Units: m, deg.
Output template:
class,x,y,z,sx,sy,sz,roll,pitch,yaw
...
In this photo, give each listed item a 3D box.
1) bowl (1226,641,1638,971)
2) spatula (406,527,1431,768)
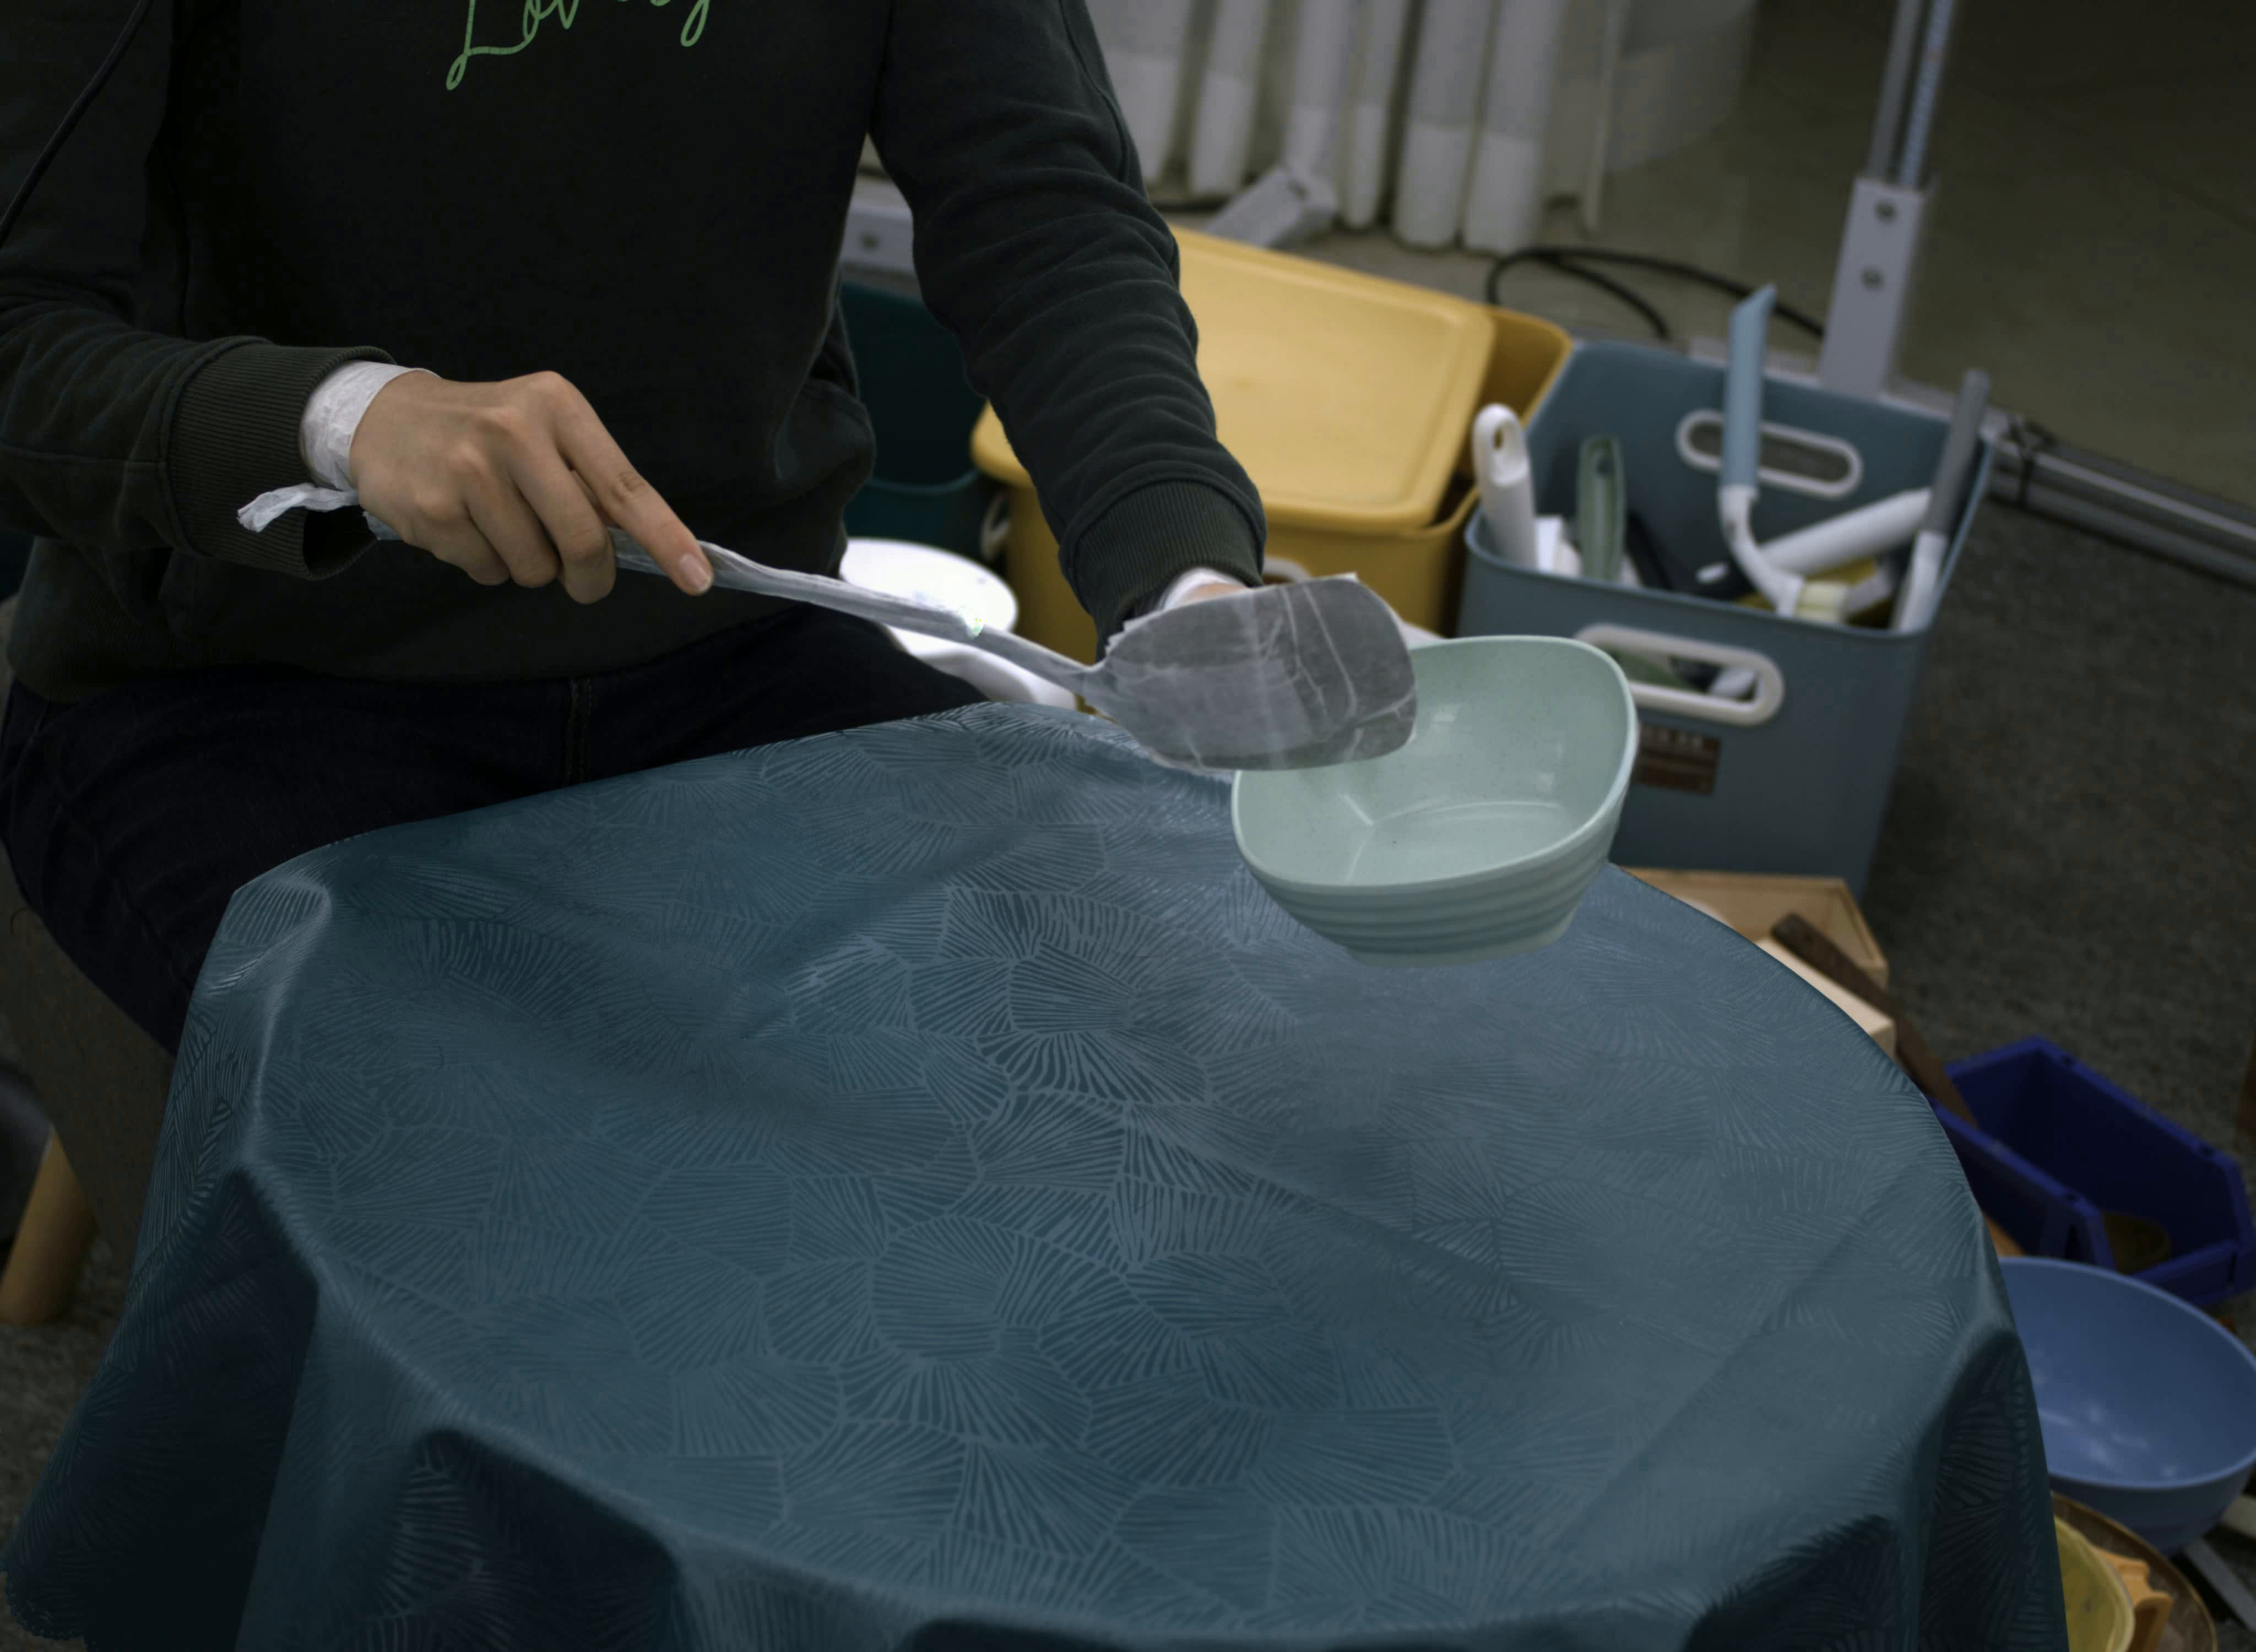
class,x,y,z,sx,sy,sz,roll,pitch,yaw
bowl,0.106,0.001,1.800,0.151,0.058,0.152,-9,35,6
spatula,-0.078,-0.073,1.765,0.366,0.098,0.045,13,59,22
